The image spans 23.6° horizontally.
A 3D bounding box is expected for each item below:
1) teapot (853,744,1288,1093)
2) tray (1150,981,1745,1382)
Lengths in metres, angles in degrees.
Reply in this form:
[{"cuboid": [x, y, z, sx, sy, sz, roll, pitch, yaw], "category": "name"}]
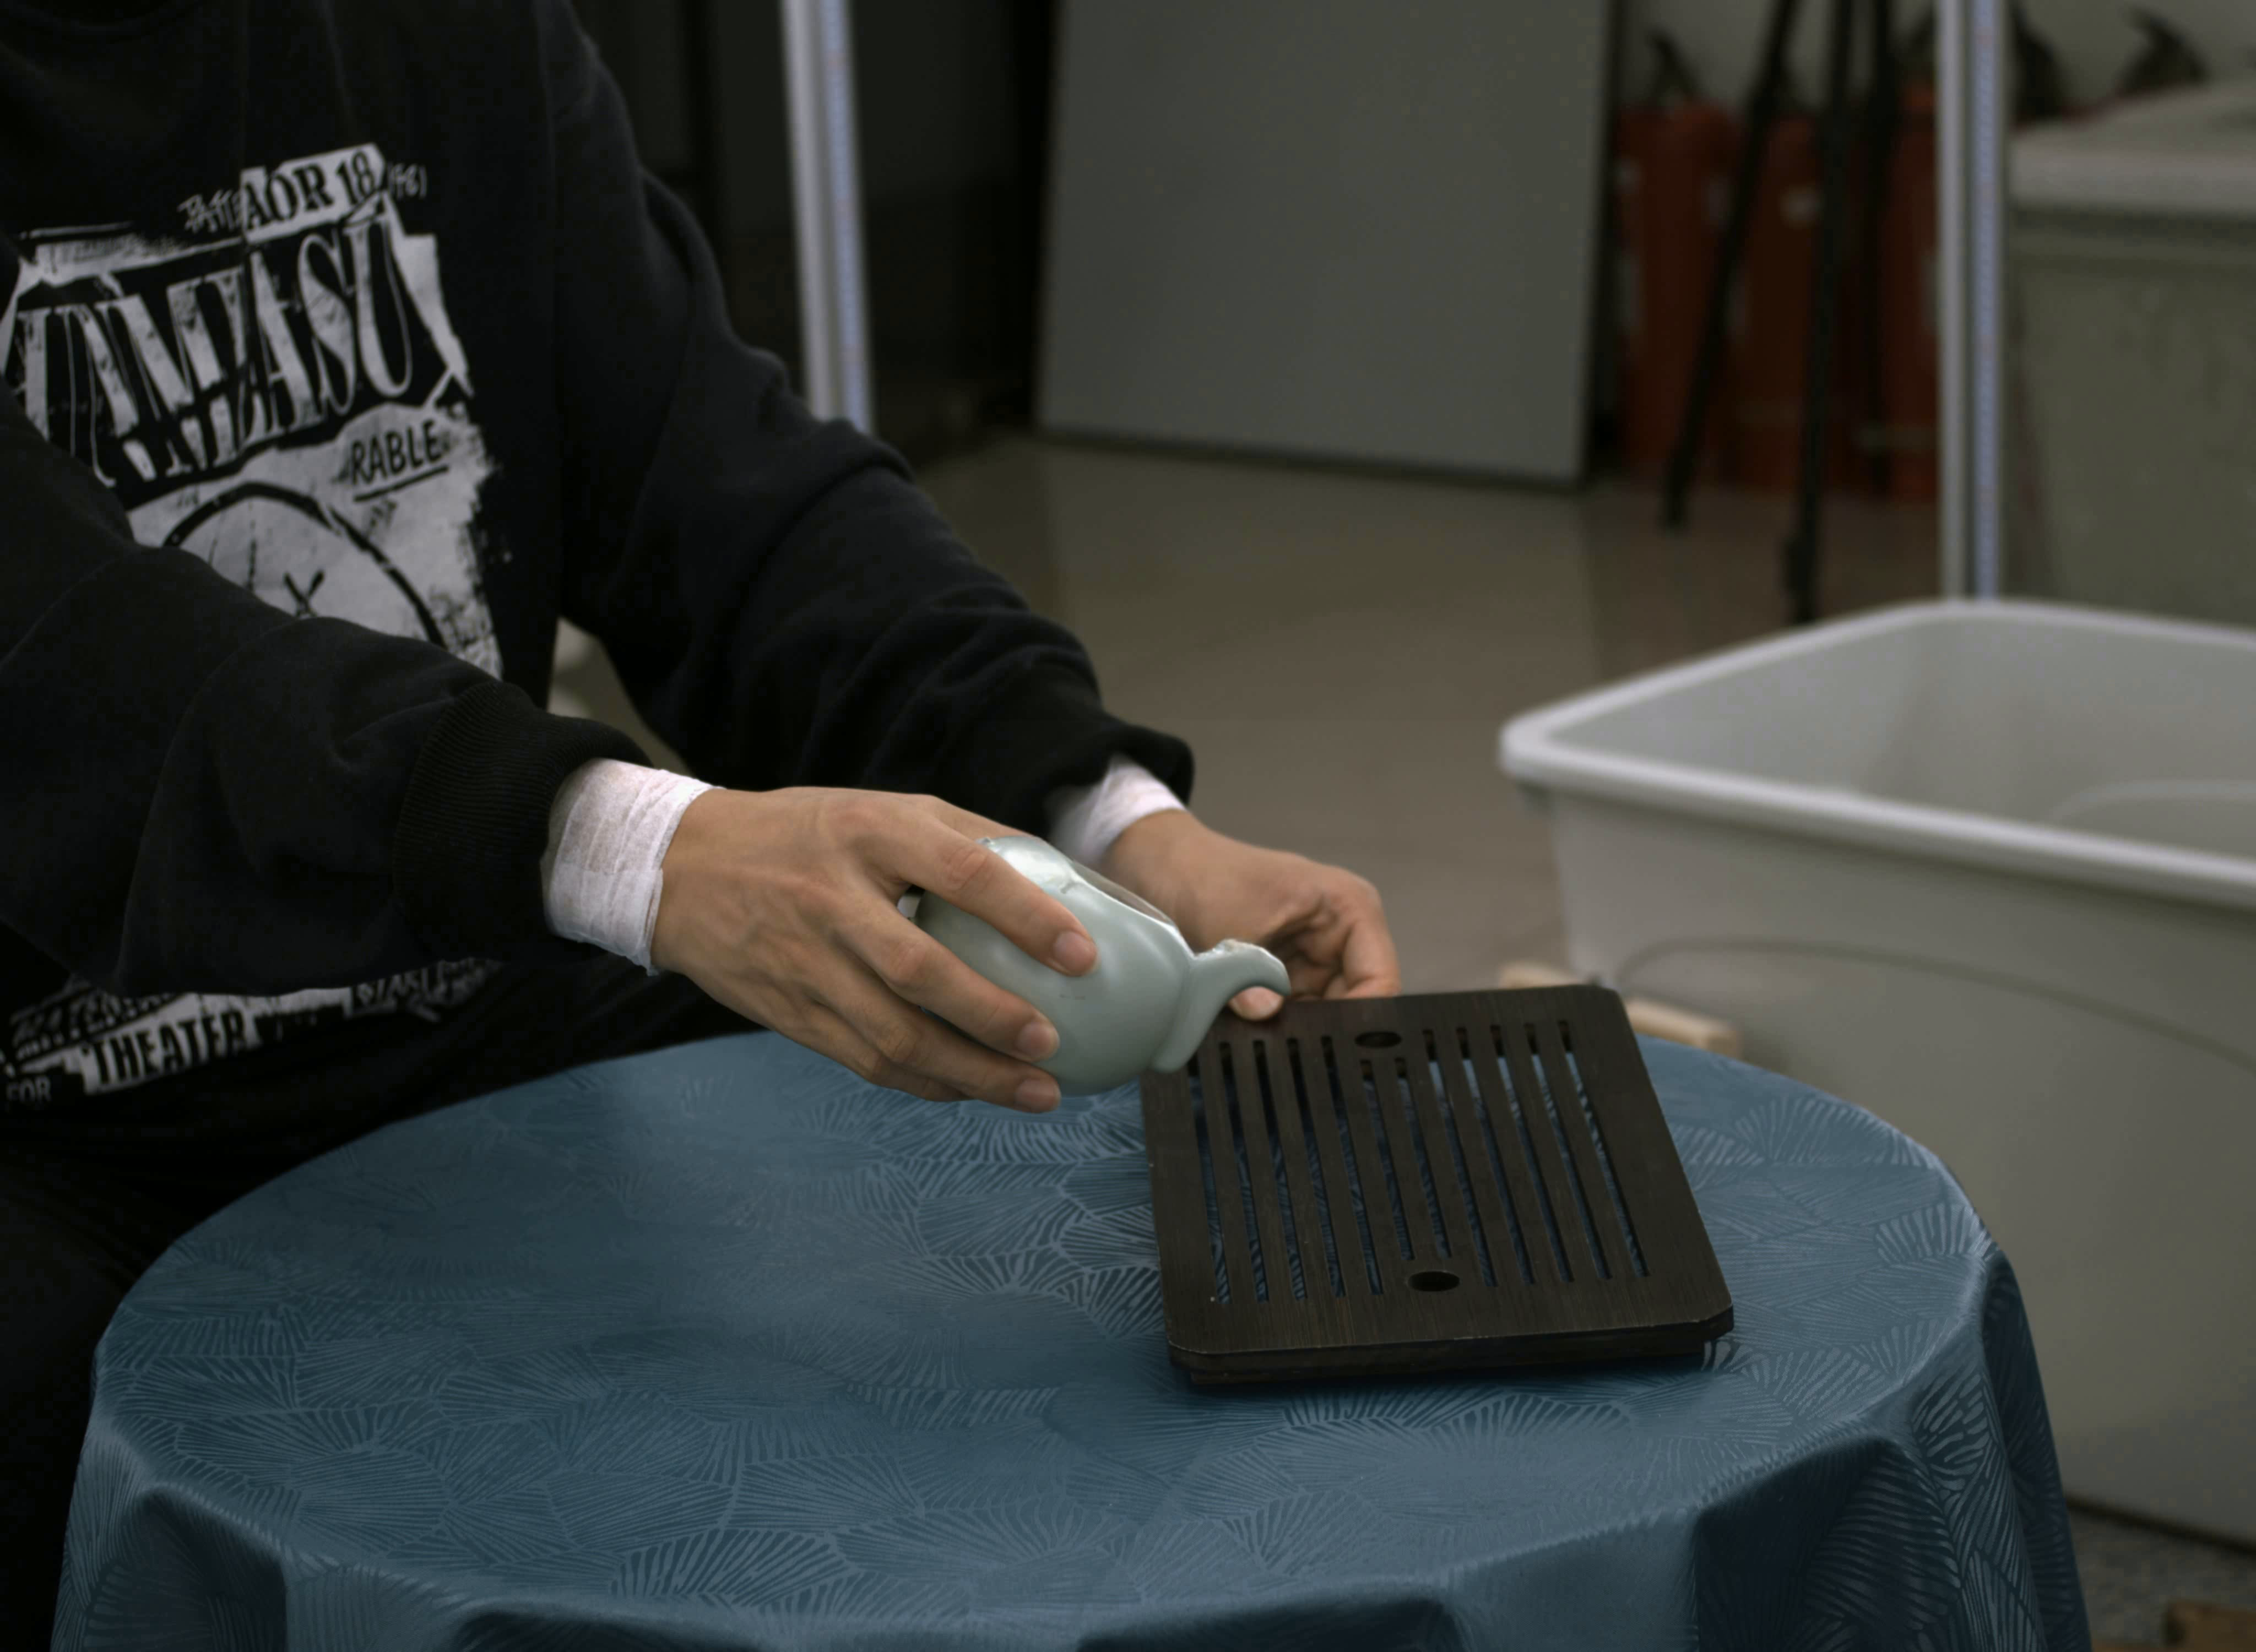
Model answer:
[{"cuboid": [-0.026, 0.039, 1.648, 0.142, 0.075, 0.089, 30, 3, -10], "category": "teapot"}, {"cuboid": [0.095, 0.111, 1.718, 0.168, 0.019, 0.306, -5, 17, 0], "category": "tray"}]
